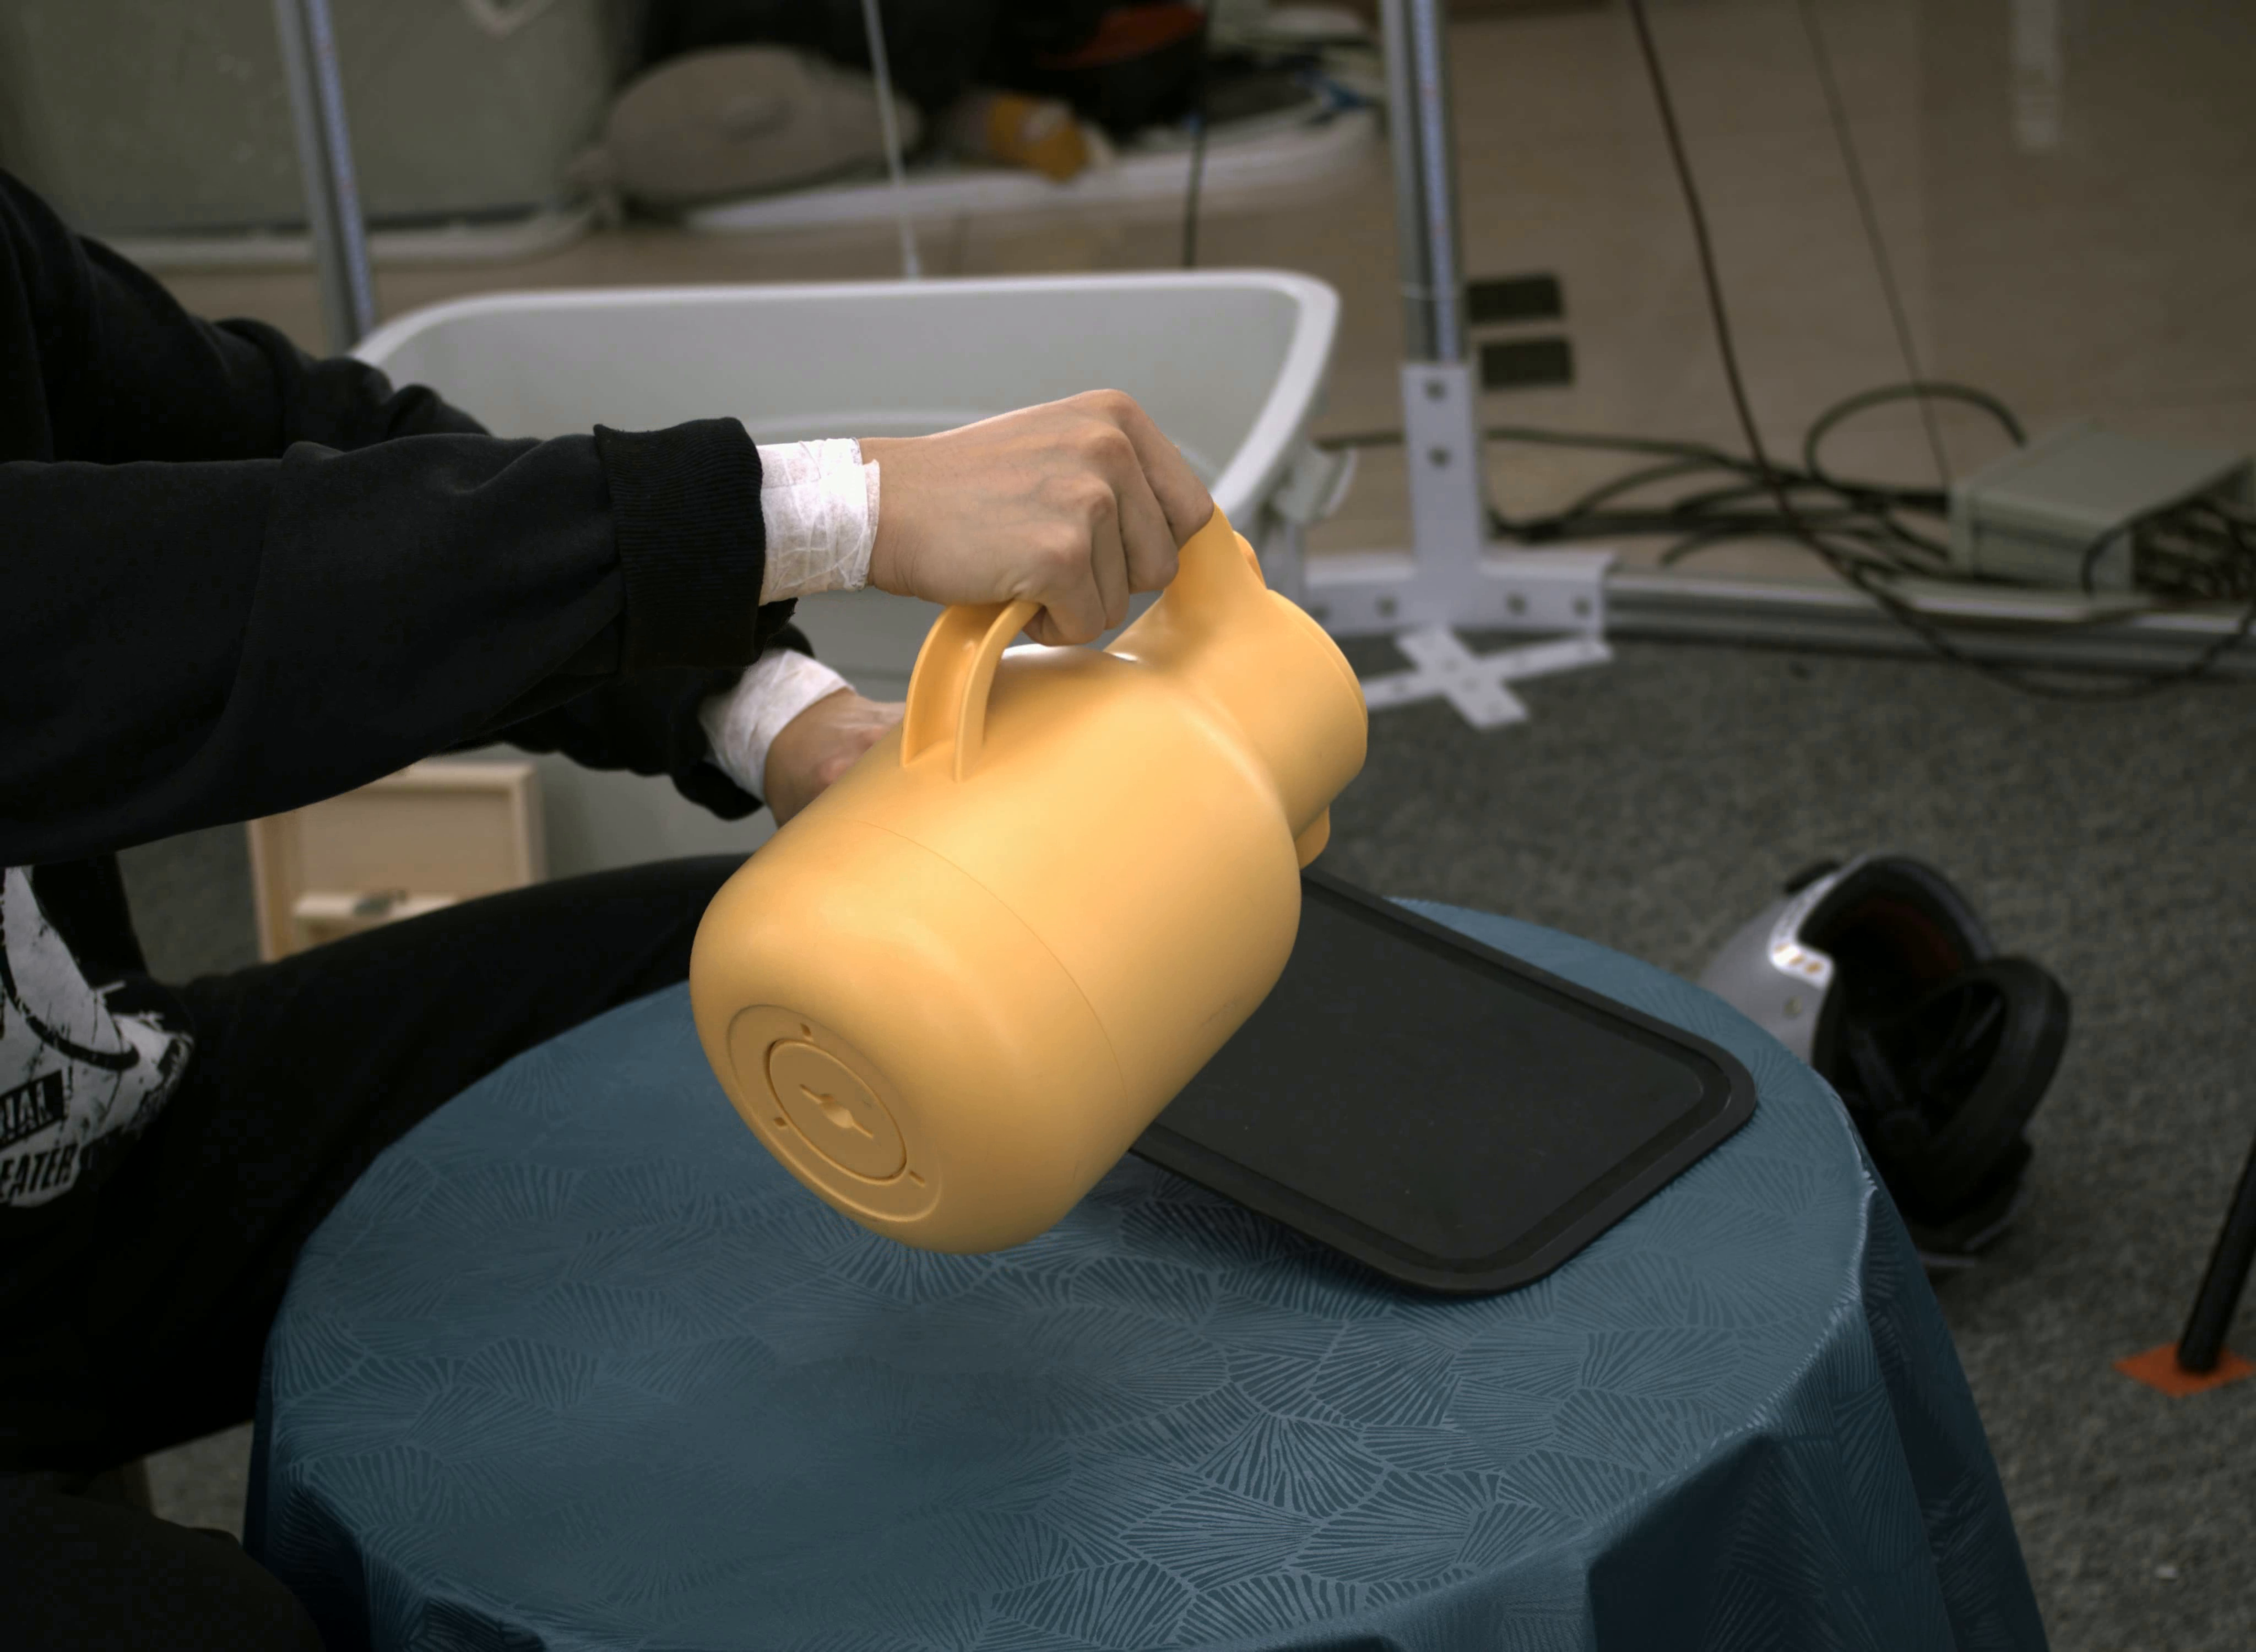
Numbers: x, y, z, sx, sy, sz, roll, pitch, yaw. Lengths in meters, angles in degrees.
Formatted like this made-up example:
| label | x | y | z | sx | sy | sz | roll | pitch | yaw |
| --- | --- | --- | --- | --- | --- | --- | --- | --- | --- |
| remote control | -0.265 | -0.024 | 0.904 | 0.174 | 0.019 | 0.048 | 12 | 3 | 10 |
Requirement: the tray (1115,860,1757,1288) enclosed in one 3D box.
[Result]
| label | x | y | z | sx | sy | sz | roll | pitch | yaw |
| --- | --- | --- | --- | --- | --- | --- | --- | --- | --- |
| tray | 0.067 | 0.080 | 2.182 | 0.322 | 0.010 | 0.209 | 25 | 38 | 31 |

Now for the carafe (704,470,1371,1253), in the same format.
| label | x | y | z | sx | sy | sz | roll | pitch | yaw |
| --- | --- | --- | --- | --- | --- | --- | --- | --- | --- |
| carafe | -0.026 | 0.003 | 1.971 | 0.162 | 0.206 | 0.257 | 12 | 46 | 38 |
